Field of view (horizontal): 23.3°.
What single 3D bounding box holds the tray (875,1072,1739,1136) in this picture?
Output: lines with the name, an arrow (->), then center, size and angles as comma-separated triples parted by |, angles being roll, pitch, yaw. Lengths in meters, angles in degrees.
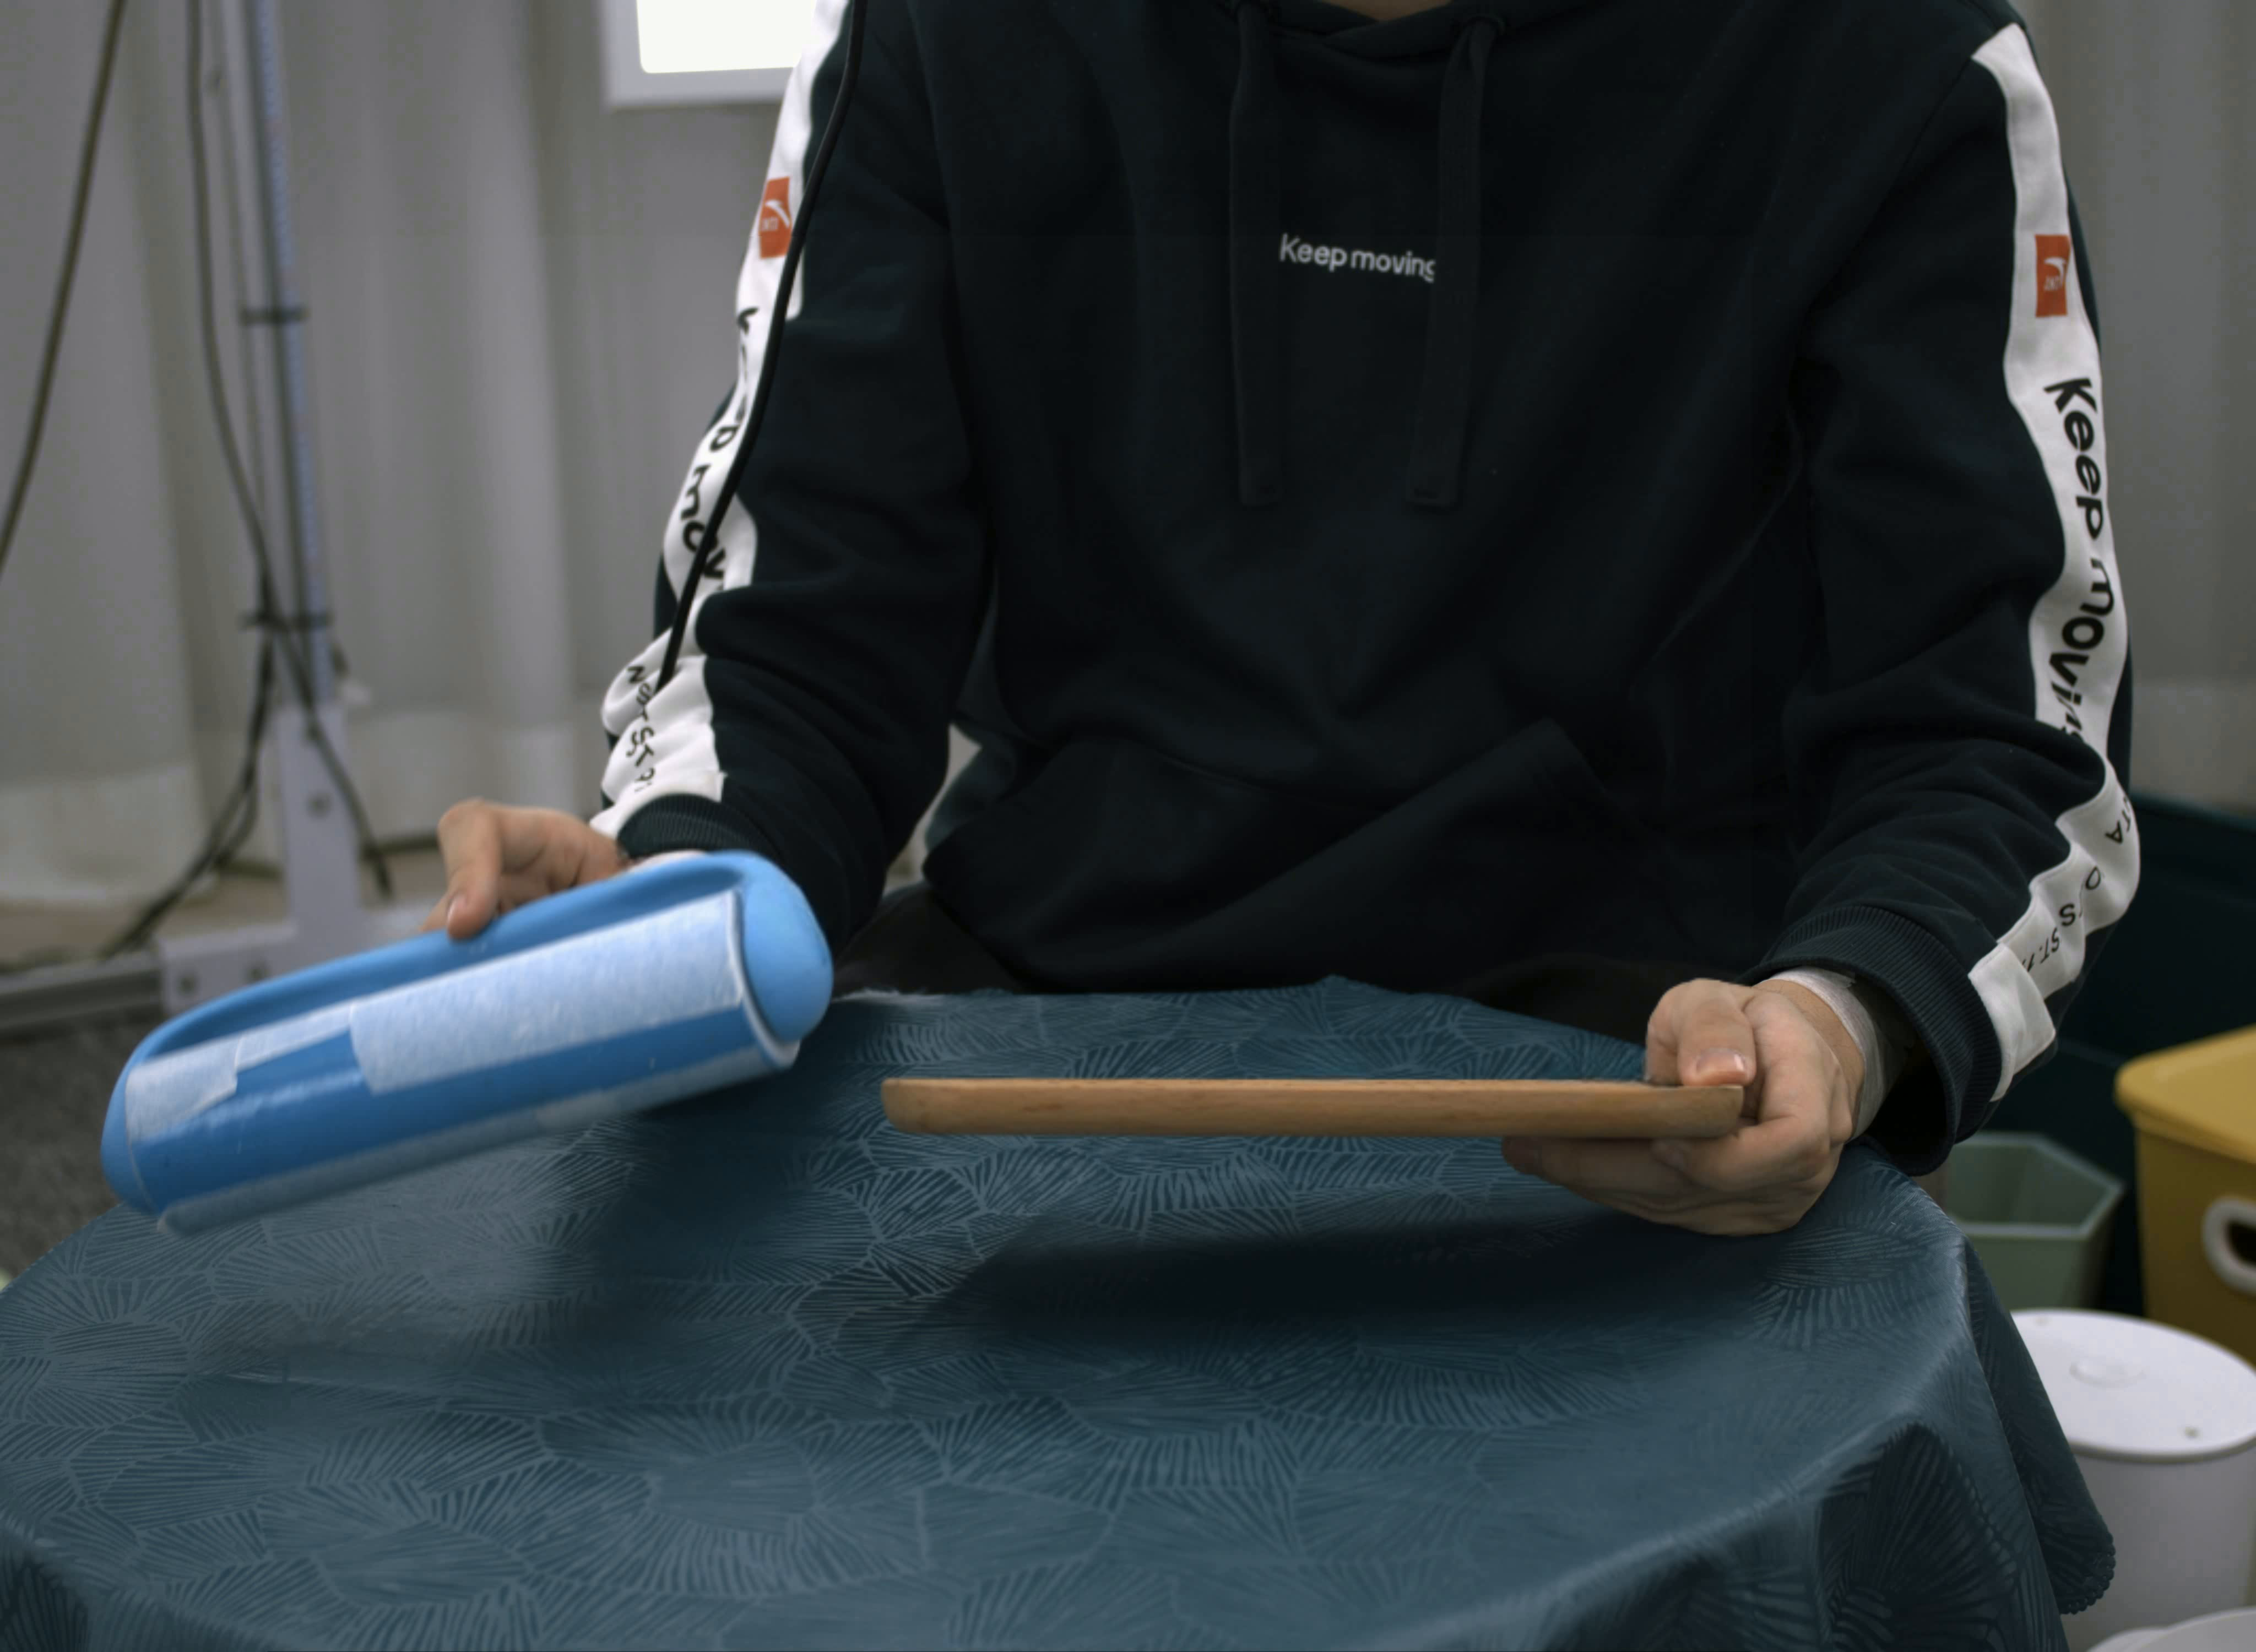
tray -> 0.051, 0.082, 1.612 | 0.250, 0.023, 0.130 | 0, -4, 0

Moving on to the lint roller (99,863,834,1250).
lint roller -> -0.186, 0.060, 1.643 | 0.228, 0.068, 0.181 | -18, 8, 10
